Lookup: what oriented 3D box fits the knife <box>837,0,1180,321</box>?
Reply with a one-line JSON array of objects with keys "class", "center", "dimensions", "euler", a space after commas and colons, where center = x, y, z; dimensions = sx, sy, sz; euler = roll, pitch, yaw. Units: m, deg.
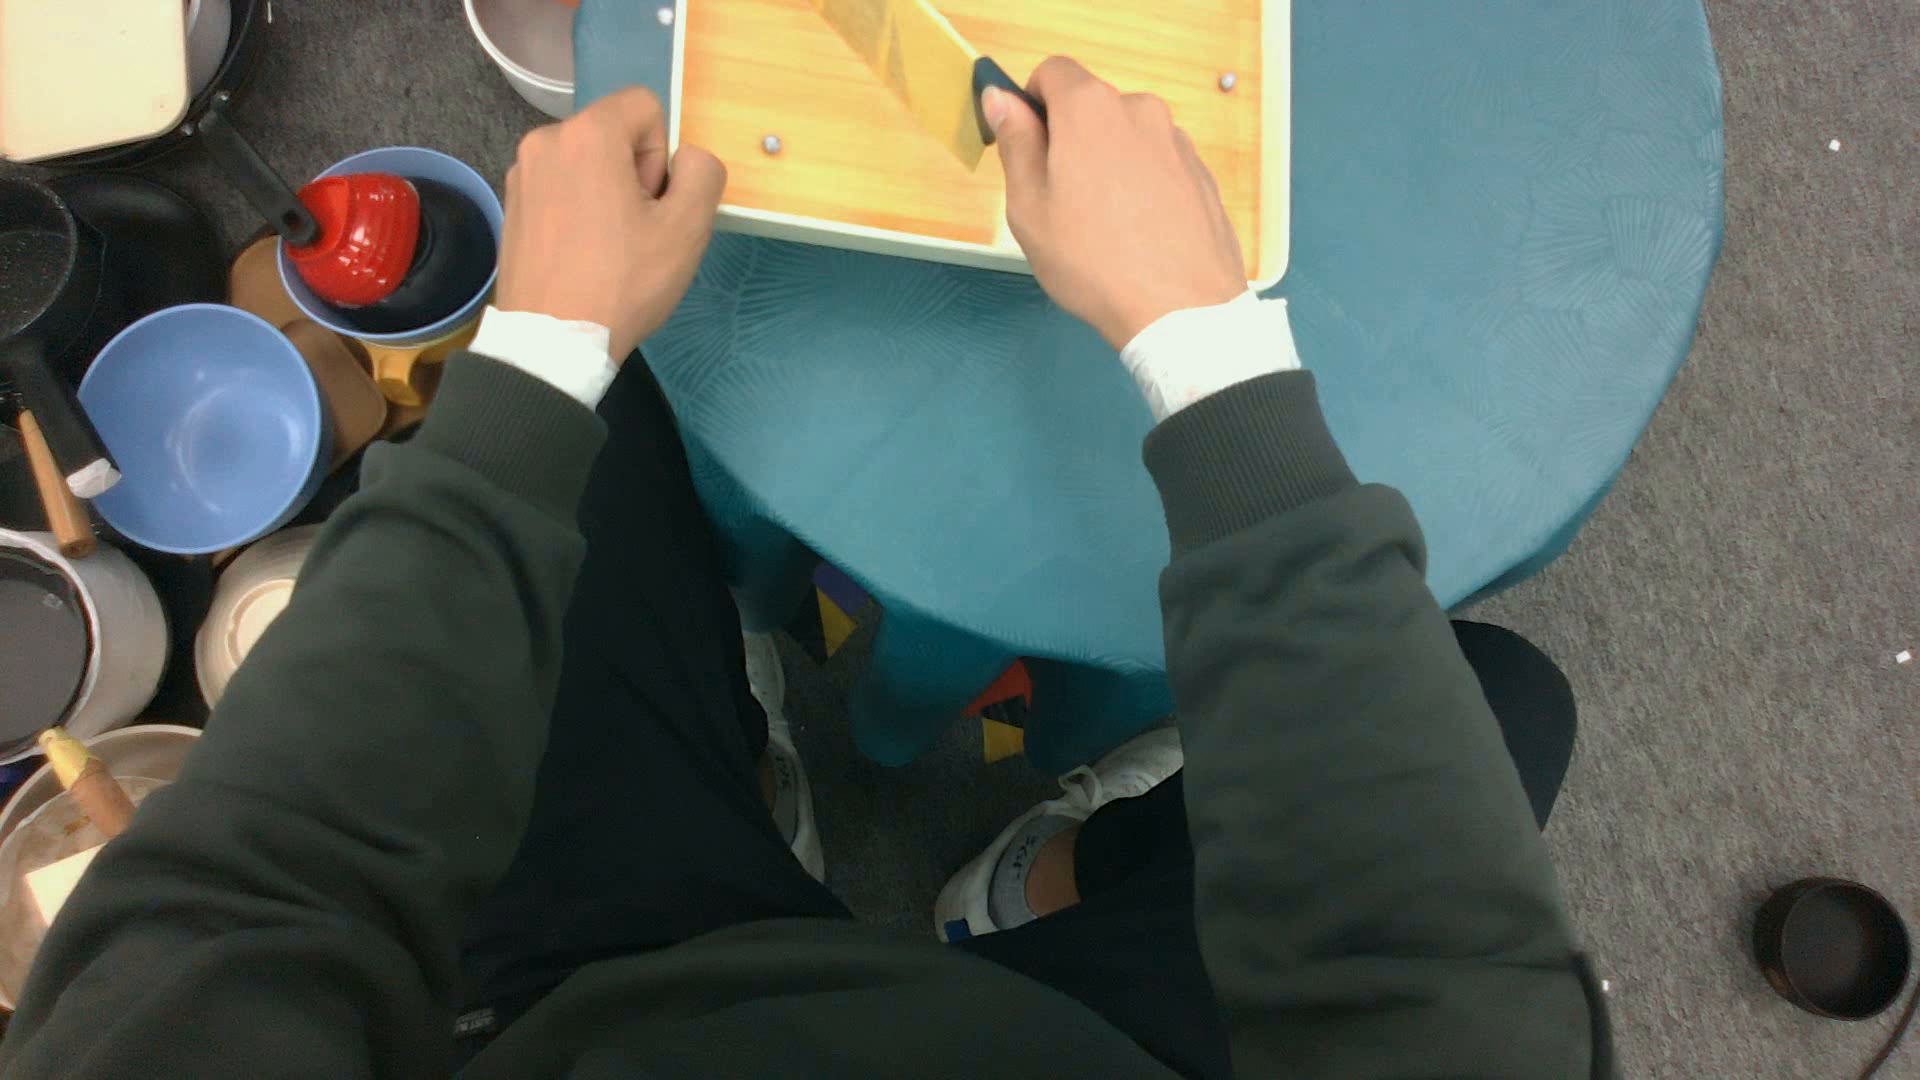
[{"class": "knife", "center": [-0.007, -0.200, 0.596], "dimensions": [0.027, 0.081, 0.289], "euler": [-37, 79, -13]}]

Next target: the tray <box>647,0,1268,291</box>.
[{"class": "tray", "center": [0.008, -0.229, 0.657], "dimensions": [0.301, 0.027, 0.192], "euler": [4, 81, -17]}]
